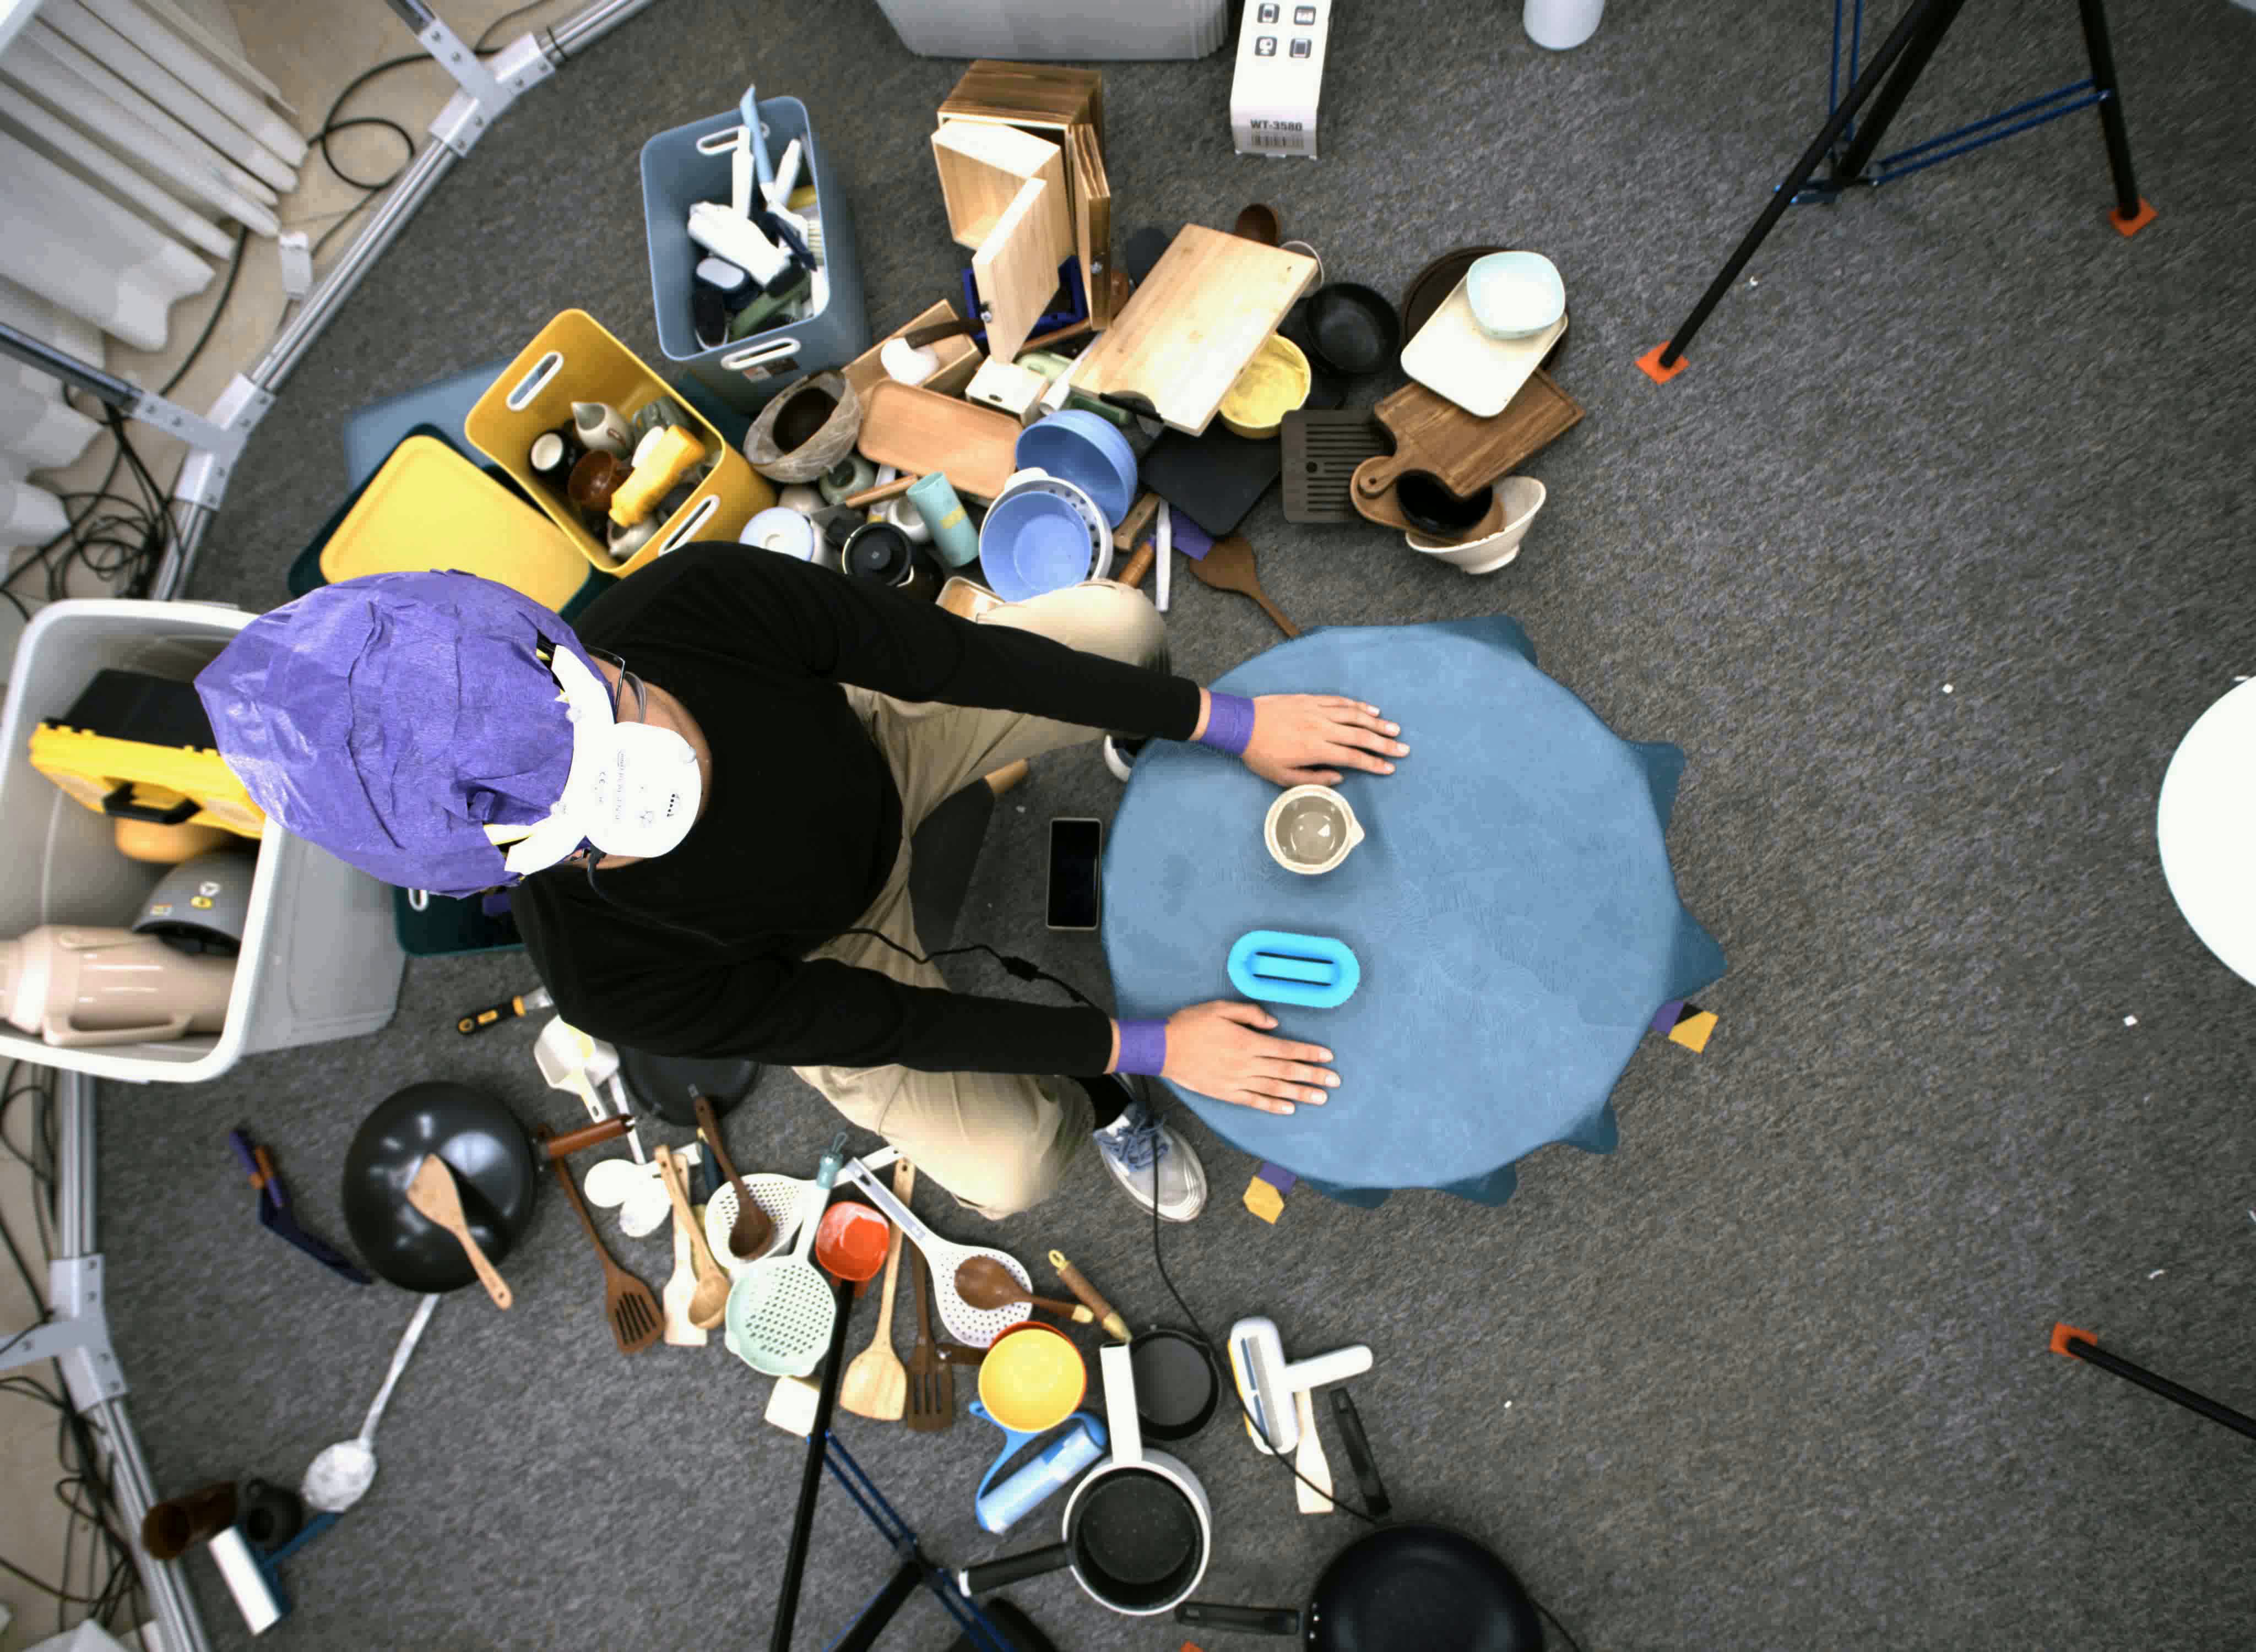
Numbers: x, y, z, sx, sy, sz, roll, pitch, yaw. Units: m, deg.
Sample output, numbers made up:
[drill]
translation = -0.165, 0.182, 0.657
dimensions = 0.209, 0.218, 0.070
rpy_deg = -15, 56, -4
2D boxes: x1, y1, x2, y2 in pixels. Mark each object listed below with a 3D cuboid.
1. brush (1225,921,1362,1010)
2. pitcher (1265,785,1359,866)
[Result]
[brush]
translation = 0.170, 0.145, 1.440
dimensions = 0.142, 0.063, 0.084
rpy_deg = 8, 91, 12
[pitcher]
translation = 0.192, 0.003, 1.439
dimensions = 0.096, 0.071, 0.083
rpy_deg = 13, 87, 9
